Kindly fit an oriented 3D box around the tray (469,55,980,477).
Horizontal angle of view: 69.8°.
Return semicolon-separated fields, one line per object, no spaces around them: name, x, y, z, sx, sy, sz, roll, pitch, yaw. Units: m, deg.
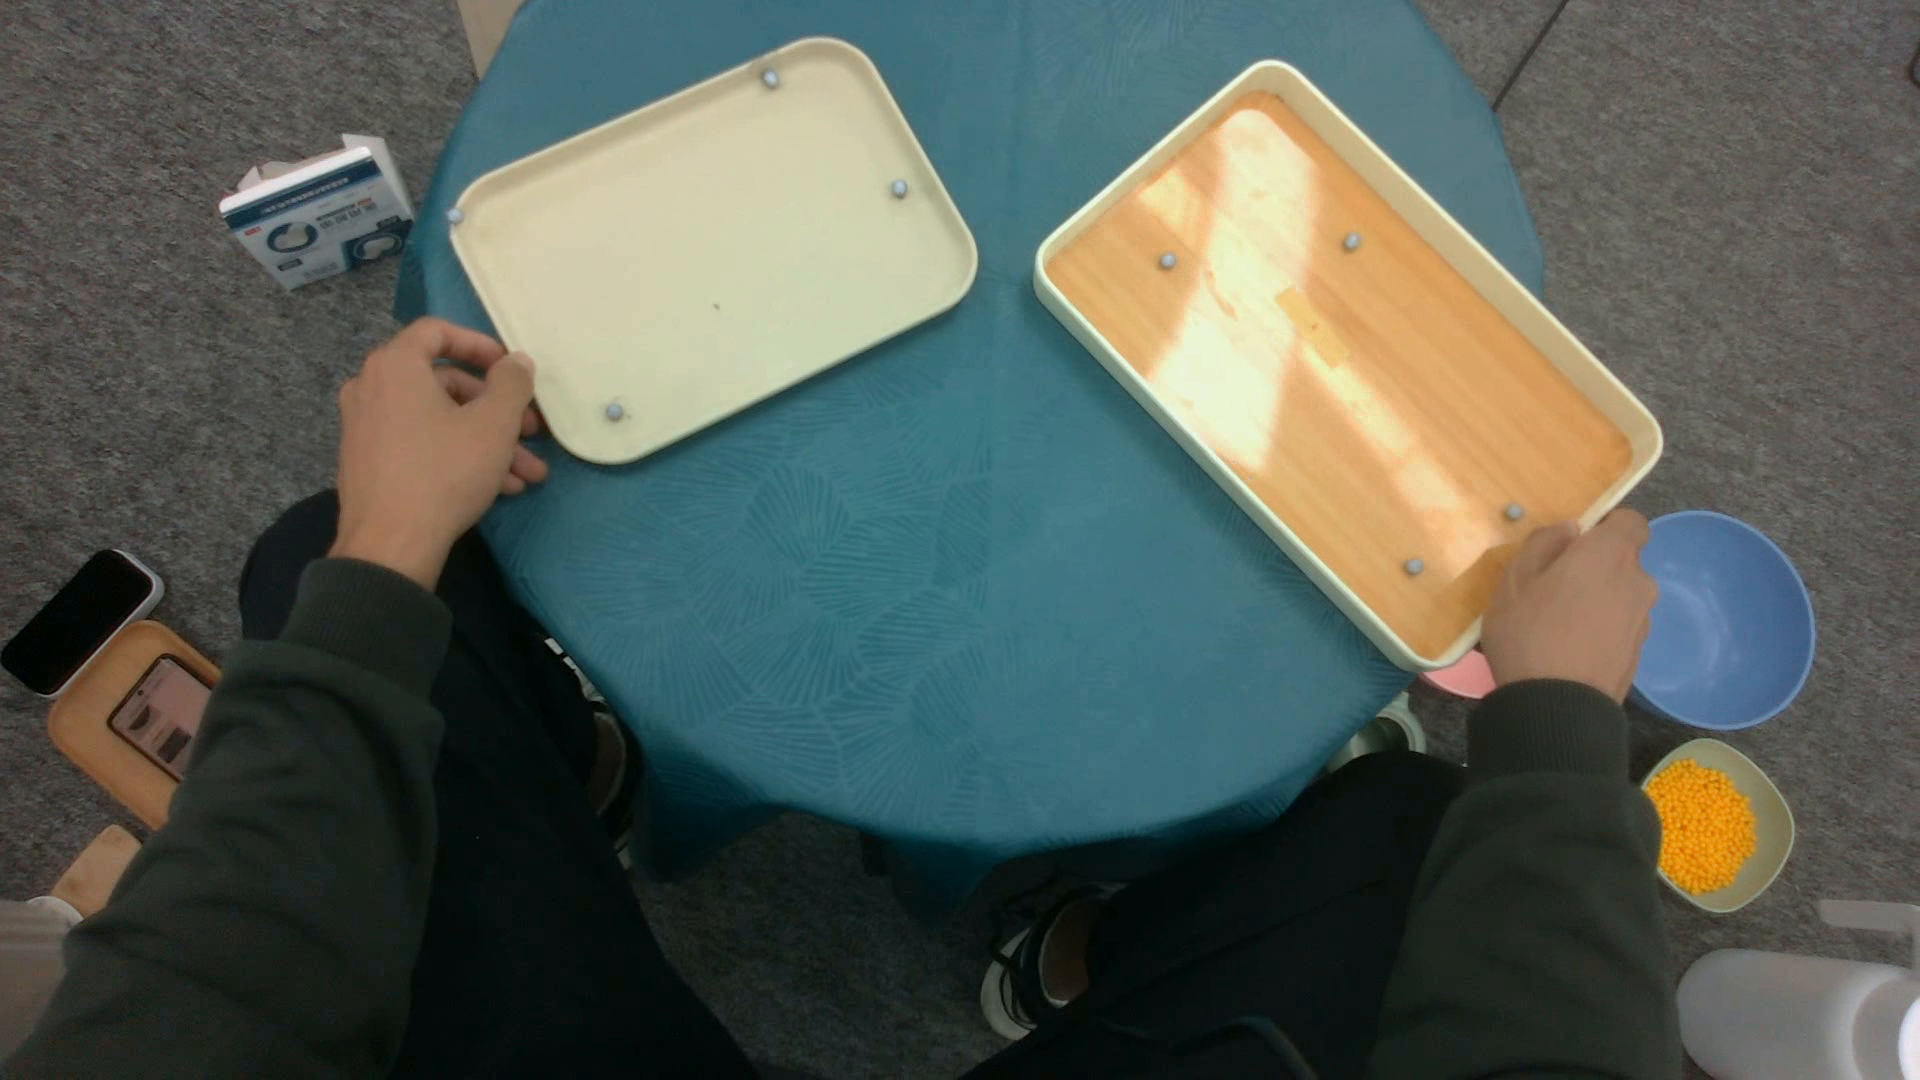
tray;-0.123;-0.148;0.734;0.240;0.017;0.171;-28;81;-11

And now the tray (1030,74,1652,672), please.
tray;0.201;-0.095;0.739;0.192;0.027;0.300;-42;82;-11
